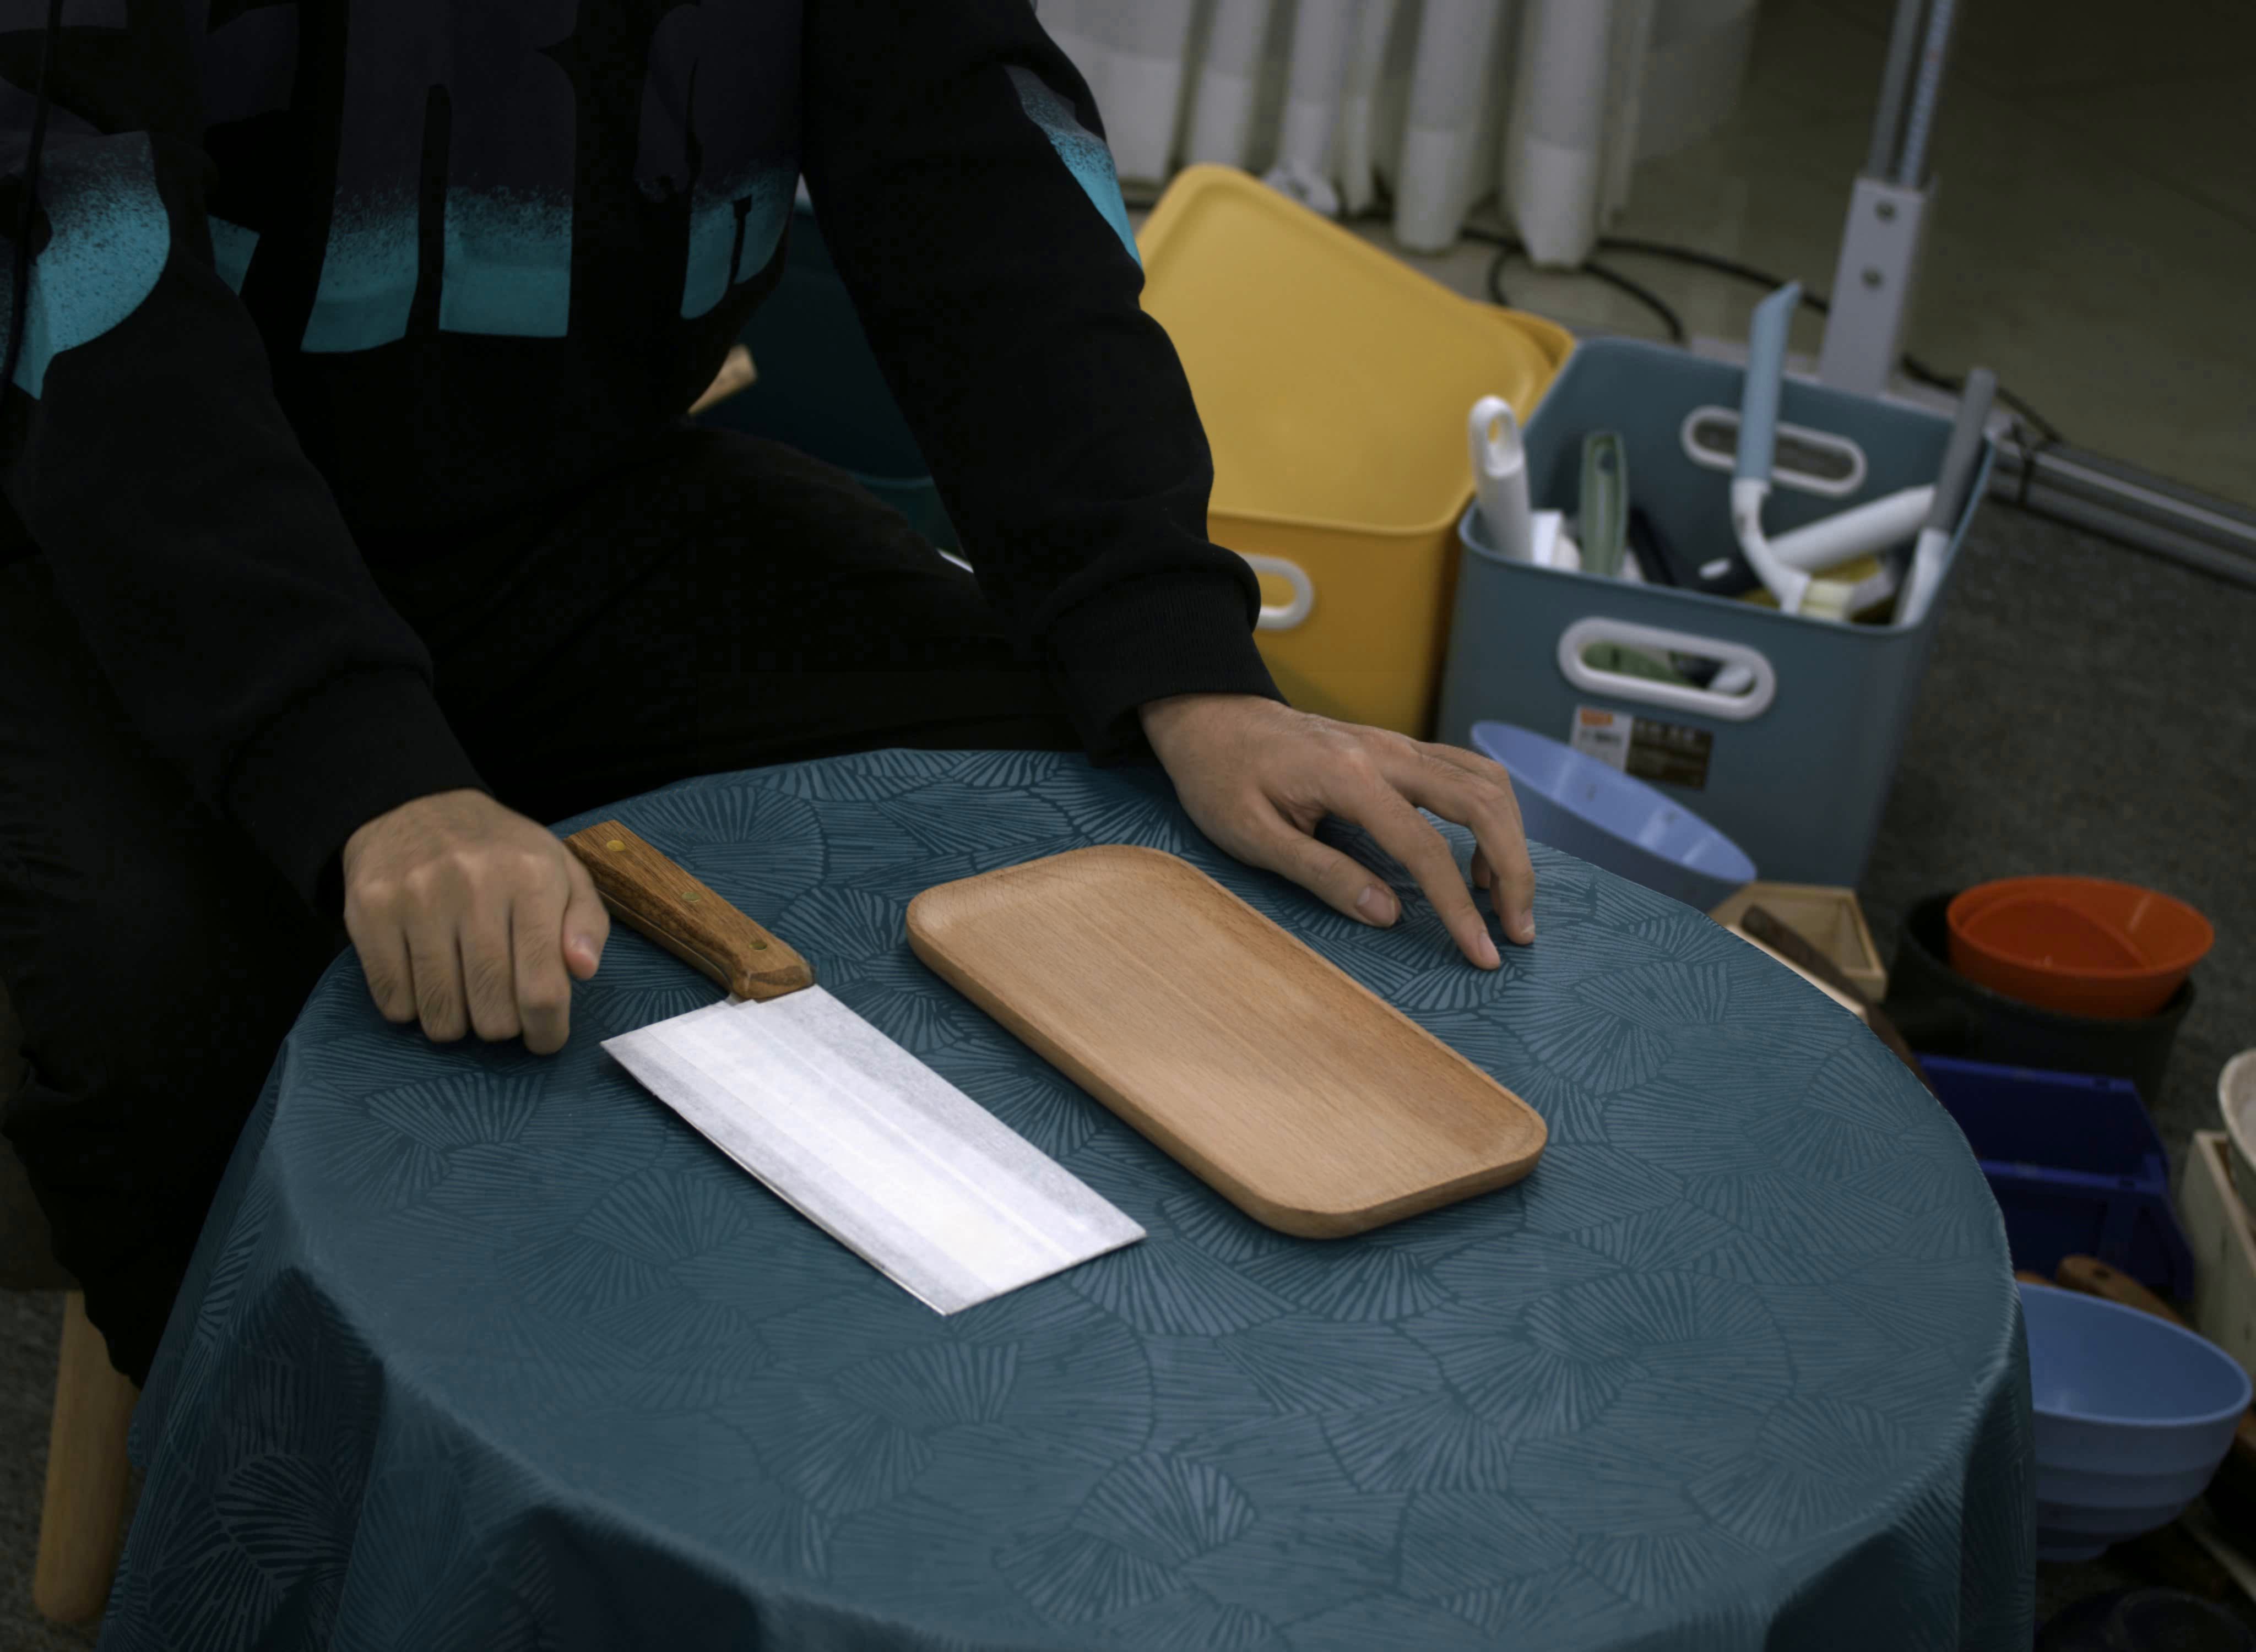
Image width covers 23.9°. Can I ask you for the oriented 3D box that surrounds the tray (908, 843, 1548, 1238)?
[{"bbox_3d":[0.032,0.074,1.890,0.130,0.023,0.253,-11,31,-34],"label":"tray"}]

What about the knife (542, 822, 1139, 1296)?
[{"bbox_3d":[-0.124,0.080,1.844,0.092,0.021,0.308,-19,38,-37],"label":"knife"}]
